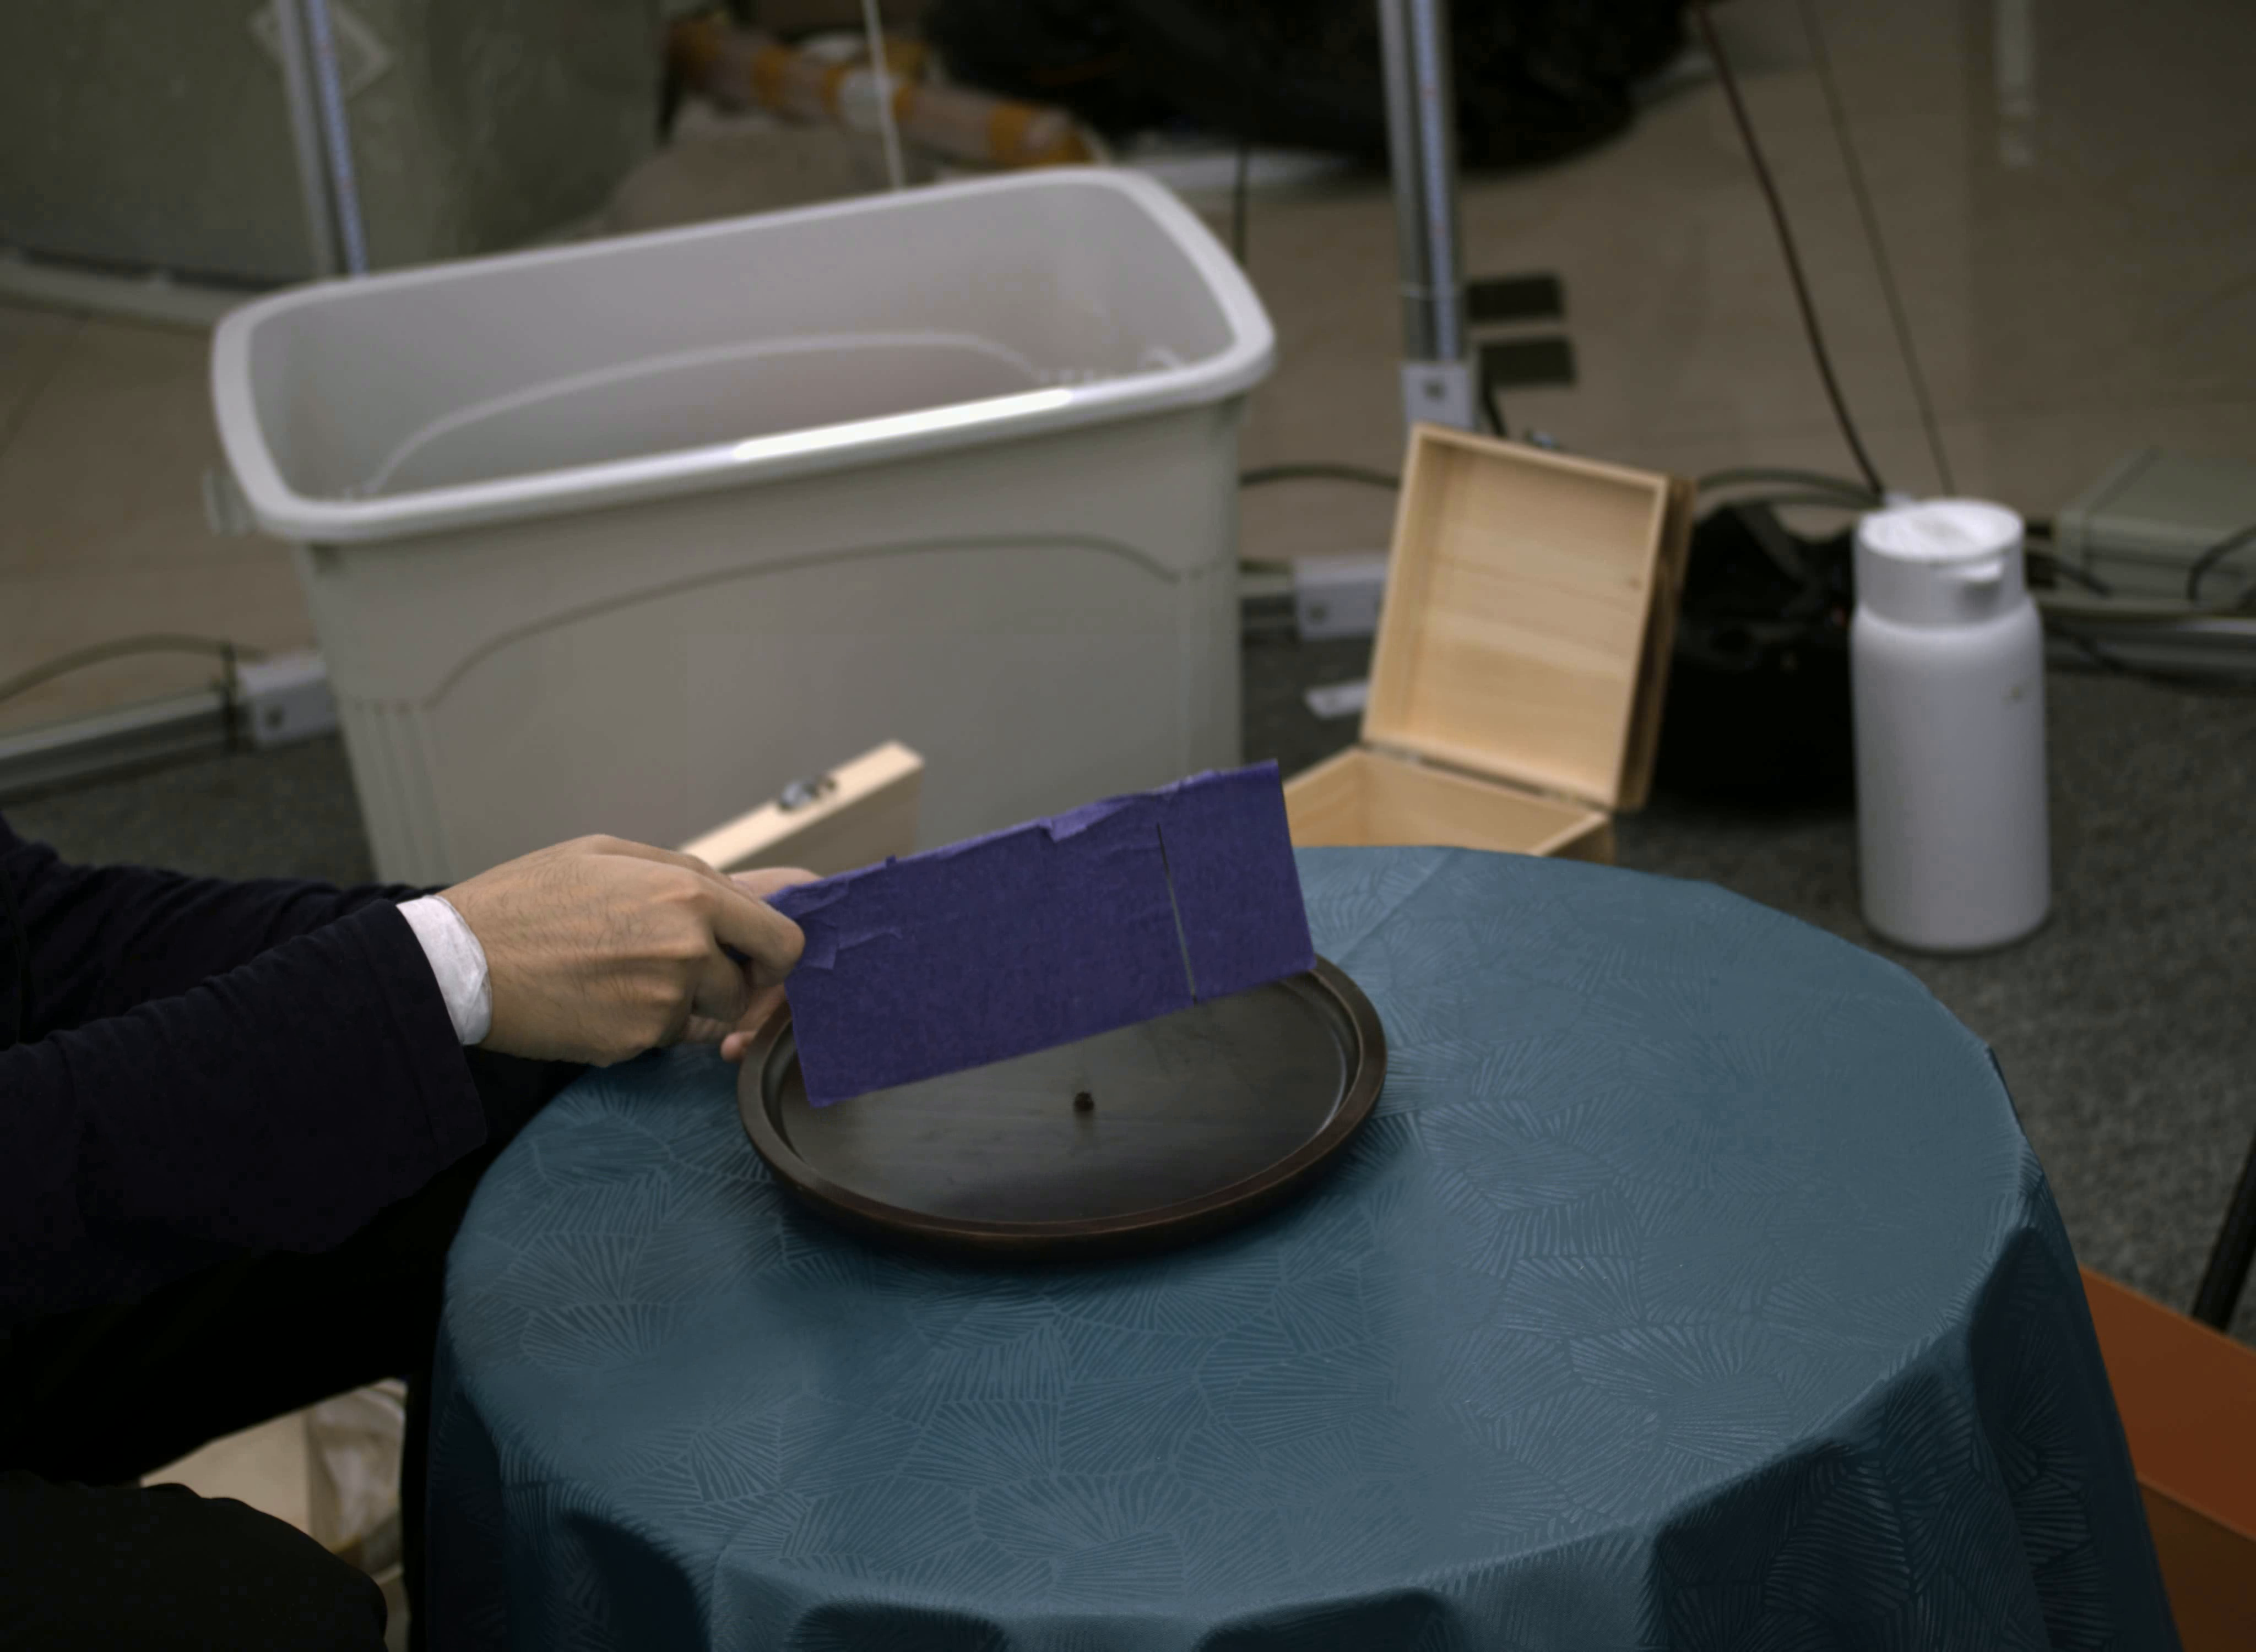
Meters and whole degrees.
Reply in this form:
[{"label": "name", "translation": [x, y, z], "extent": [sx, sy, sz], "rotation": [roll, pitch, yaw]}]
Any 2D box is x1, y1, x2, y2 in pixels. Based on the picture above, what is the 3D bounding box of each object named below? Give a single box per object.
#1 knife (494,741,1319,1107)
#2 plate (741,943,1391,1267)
[{"label": "knife", "translation": [-0.078, 0.054, 2.139], "extent": [0.314, 0.105, 0.032], "rotation": [-15, 21, -11]}, {"label": "plate", "translation": [-0.024, 0.100, 2.195], "extent": [0.254, 0.029, 0.251], "rotation": [-2, 28, 1]}]
